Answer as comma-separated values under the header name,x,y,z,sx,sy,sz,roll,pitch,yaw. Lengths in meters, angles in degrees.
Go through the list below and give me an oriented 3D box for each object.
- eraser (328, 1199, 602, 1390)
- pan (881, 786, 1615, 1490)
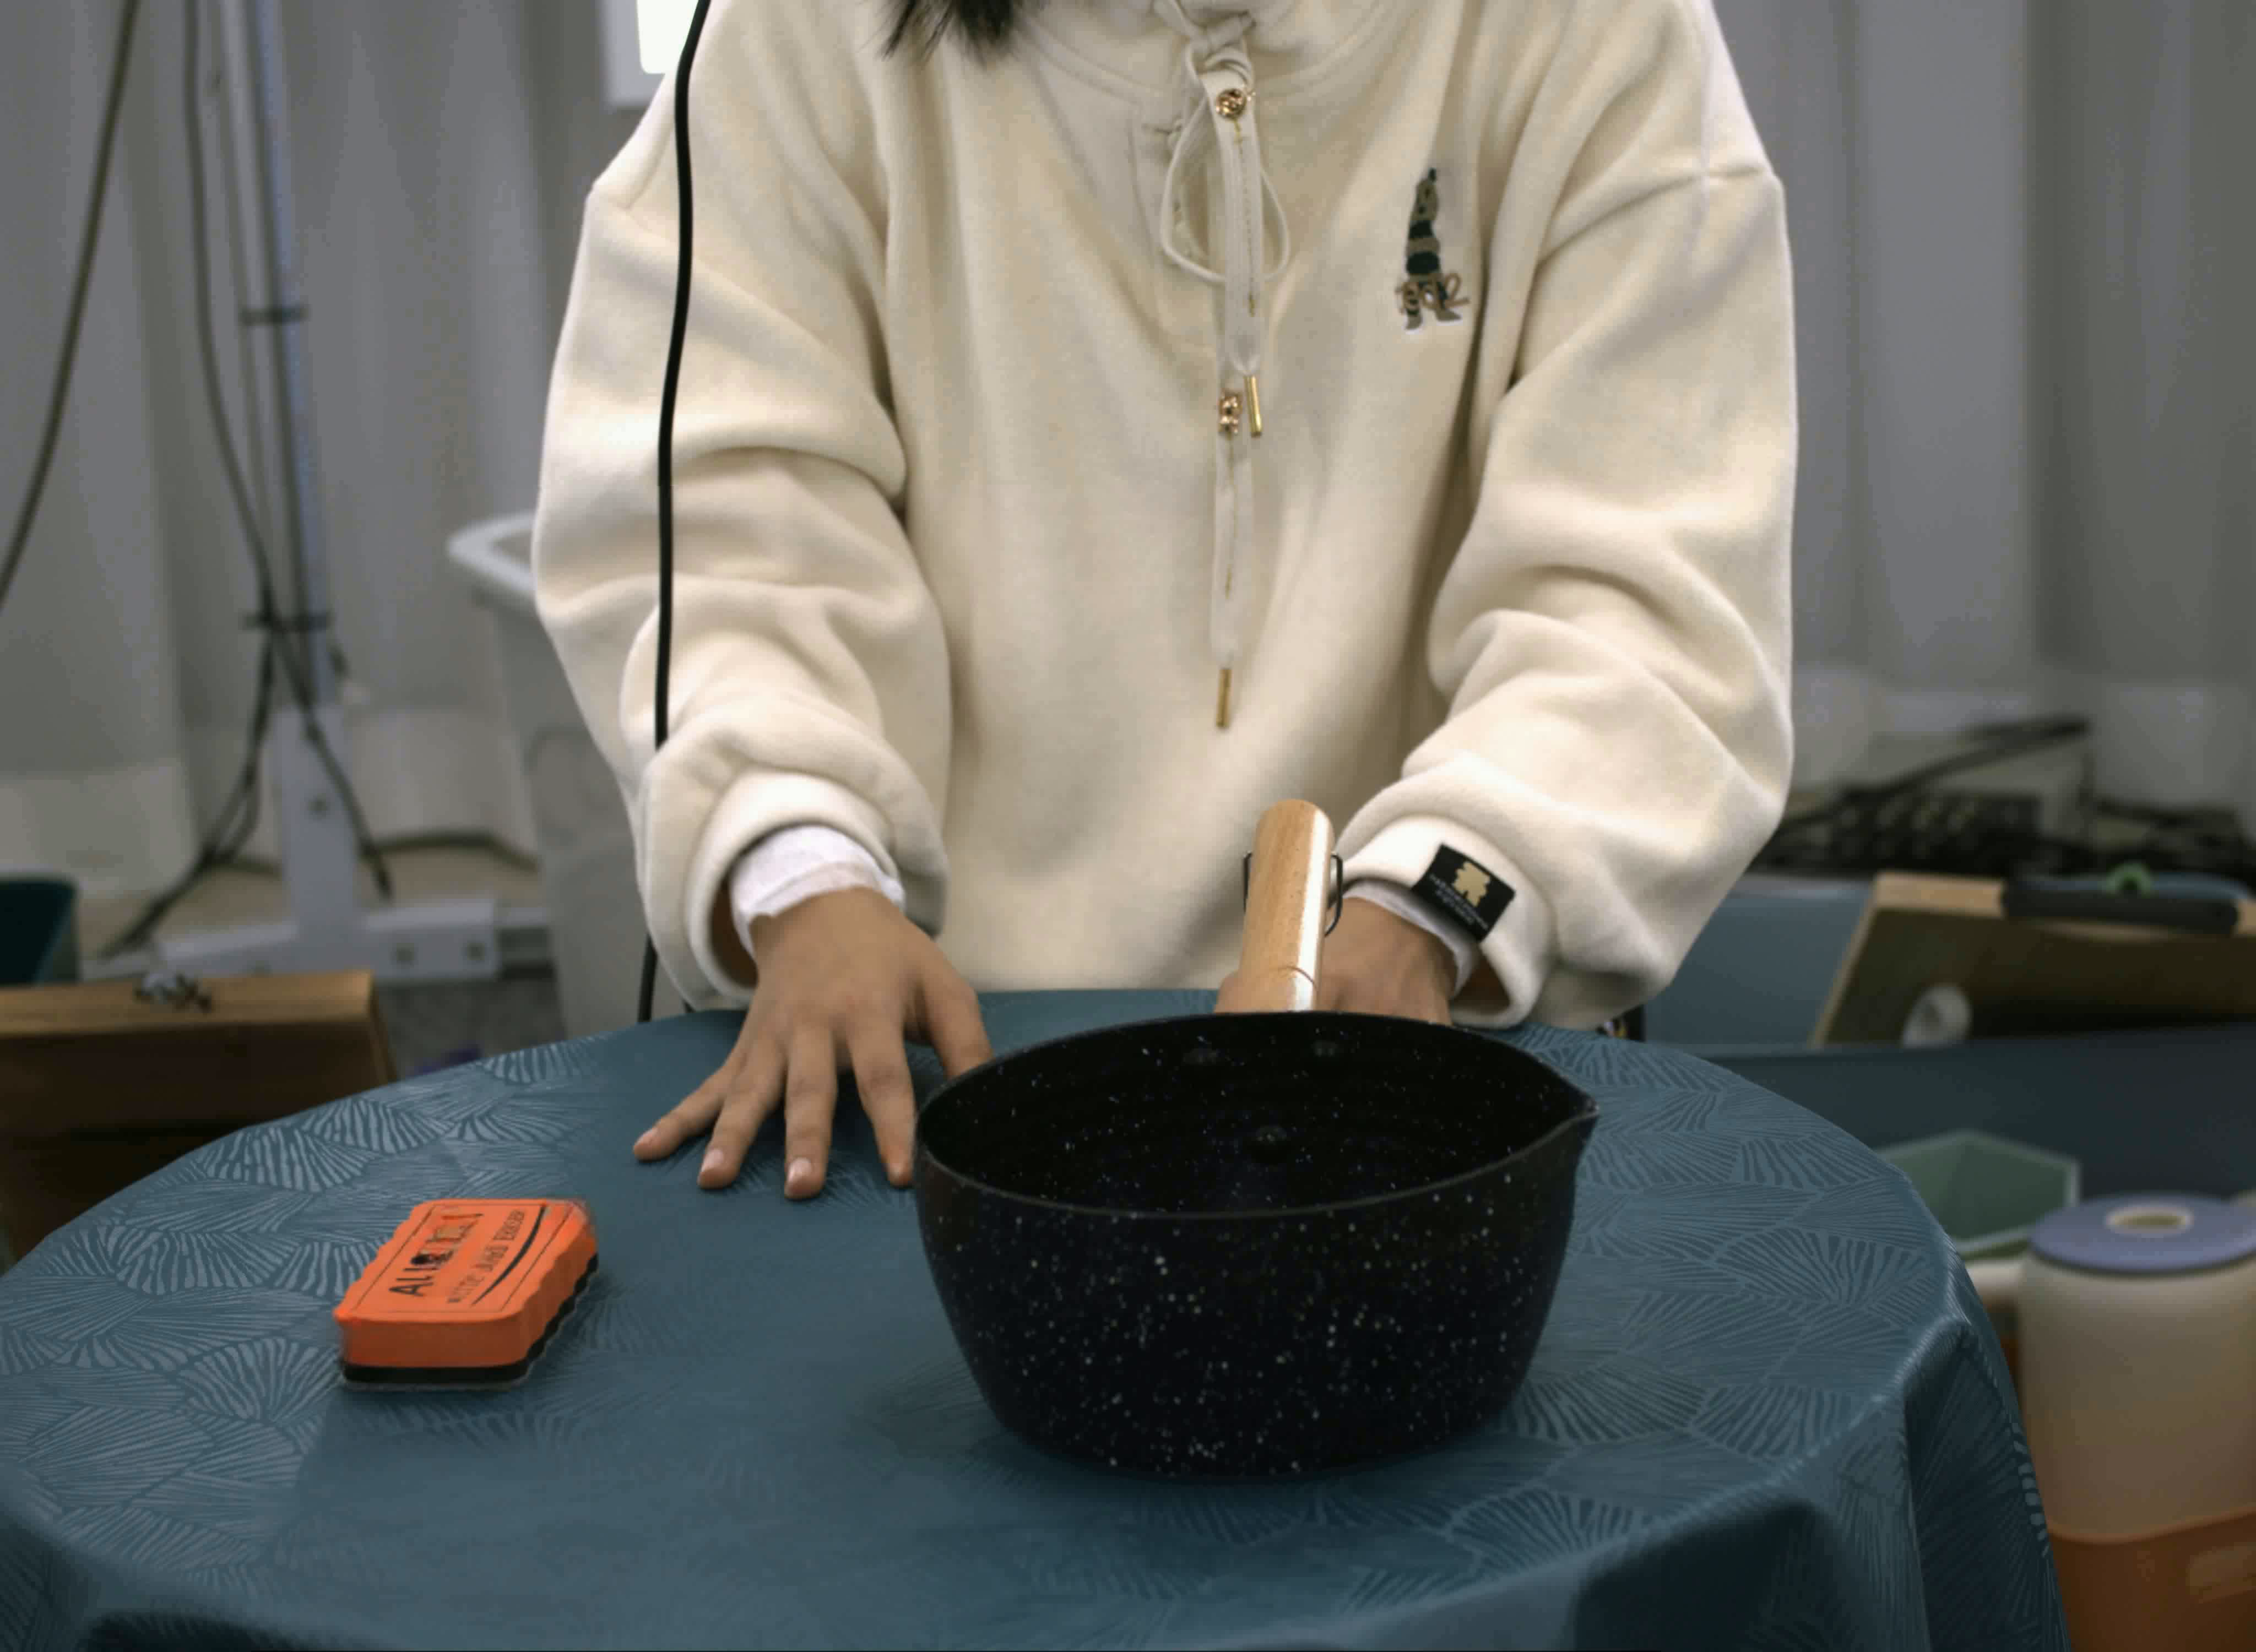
name,x,y,z,sx,sy,sz,roll,pitch,yaw
eraser,-0.195,0.138,1.619,0.059,0.023,0.108,-2,14,10
pan,0.039,0.086,1.605,0.207,0.108,0.345,-3,16,5
